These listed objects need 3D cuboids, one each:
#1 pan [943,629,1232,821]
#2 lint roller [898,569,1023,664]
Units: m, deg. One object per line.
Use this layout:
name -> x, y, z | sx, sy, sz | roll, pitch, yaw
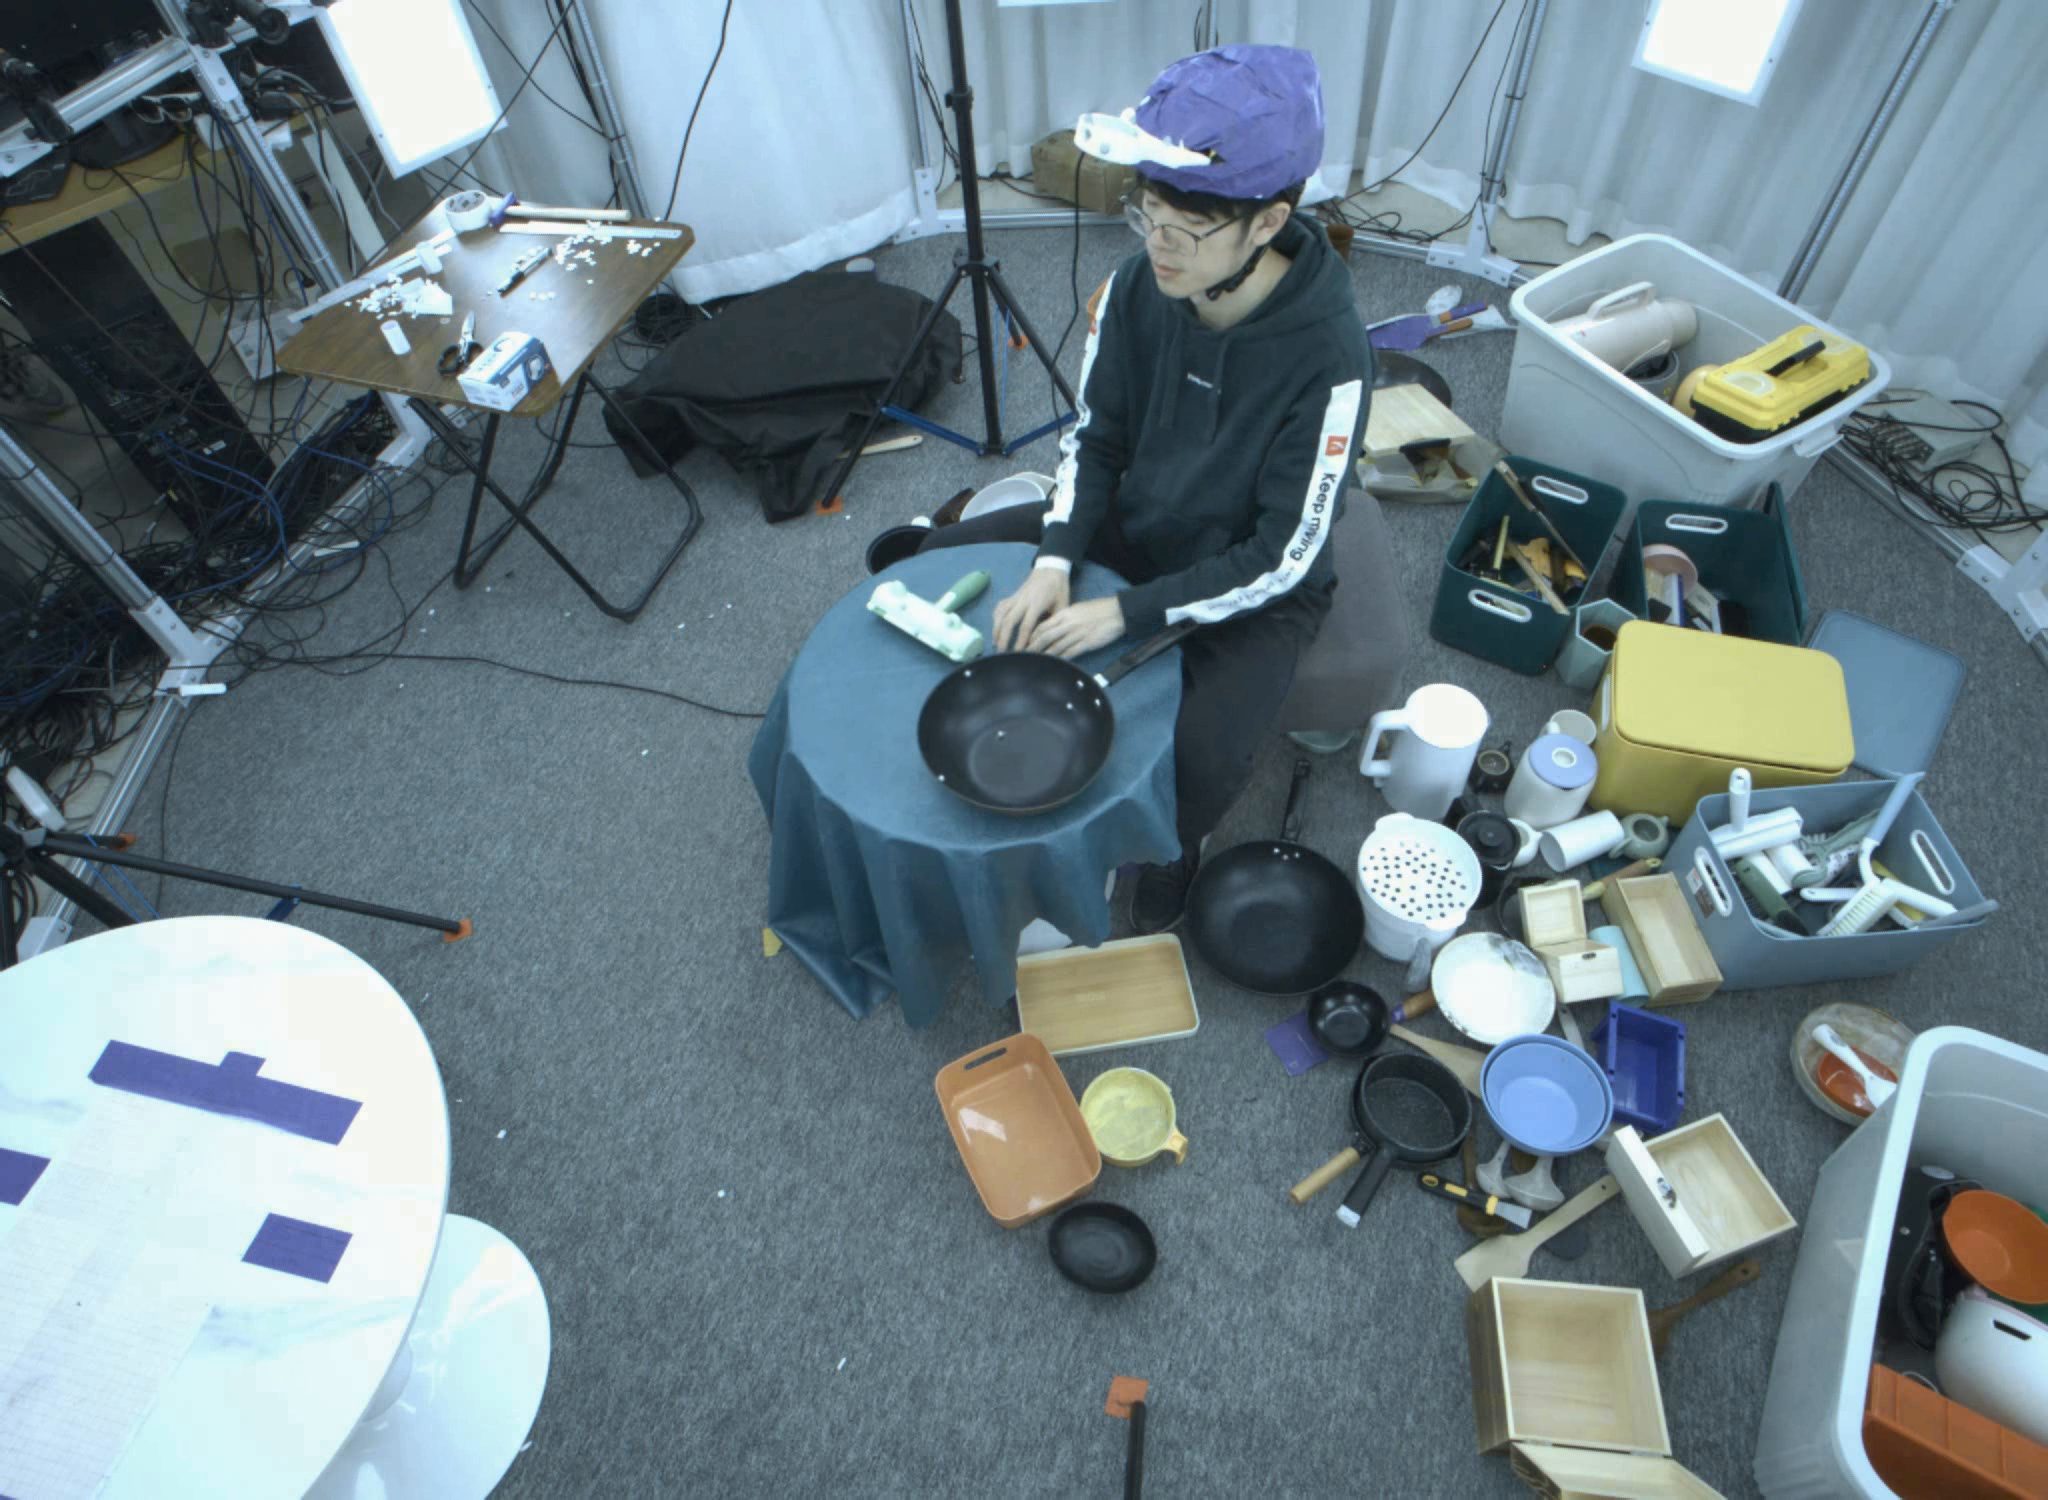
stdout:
pan -> 0.104, -0.049, 1.763 | 0.467, 0.088, 0.283 | -30, 59, -19
lint roller -> -0.069, -0.239, 1.909 | 0.195, 0.083, 0.184 | 34, 68, 24
